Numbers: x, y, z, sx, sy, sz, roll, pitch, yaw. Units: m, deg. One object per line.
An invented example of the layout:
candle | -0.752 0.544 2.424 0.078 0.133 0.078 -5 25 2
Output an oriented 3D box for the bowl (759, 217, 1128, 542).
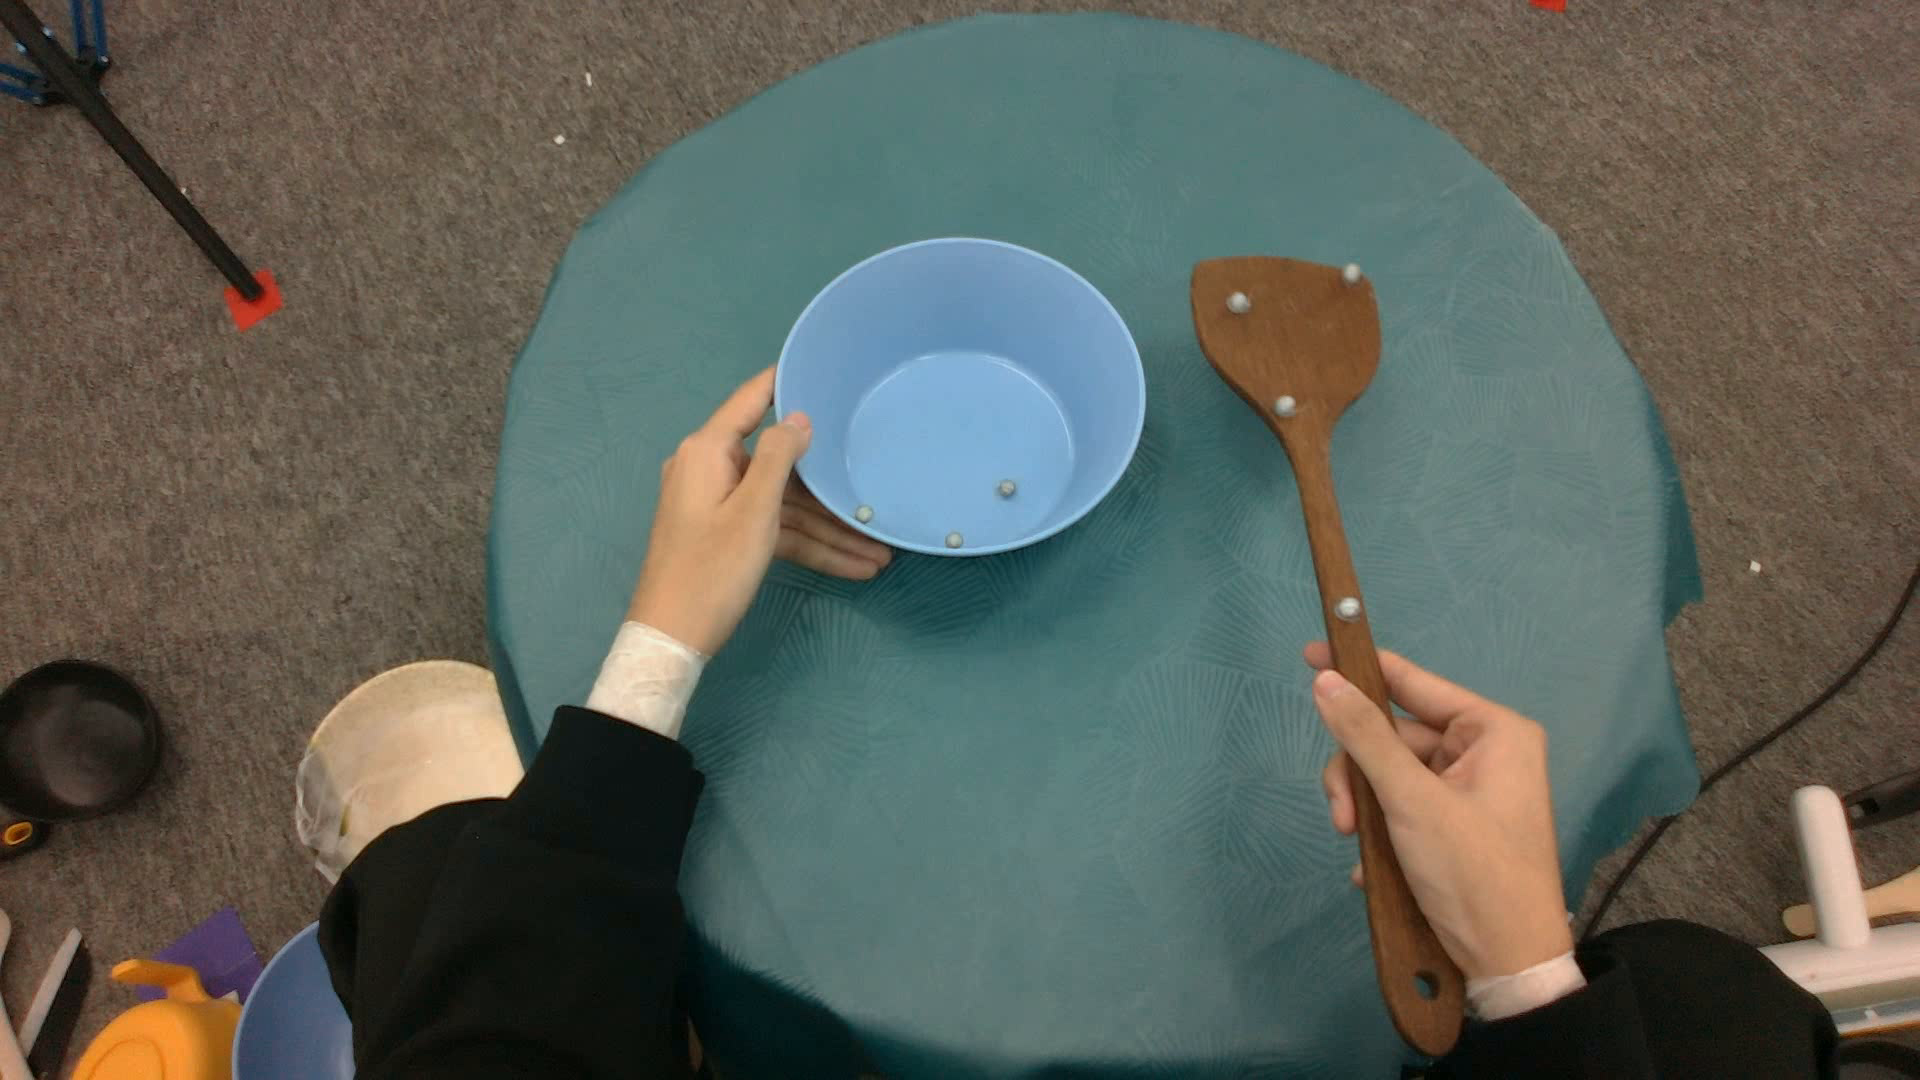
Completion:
bowl | -0.008 -0.068 0.681 0.176 0.070 0.176 0 66 -1

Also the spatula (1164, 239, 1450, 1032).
spatula | 0.151 0.008 0.581 0.096 0.015 0.387 3 54 -8
